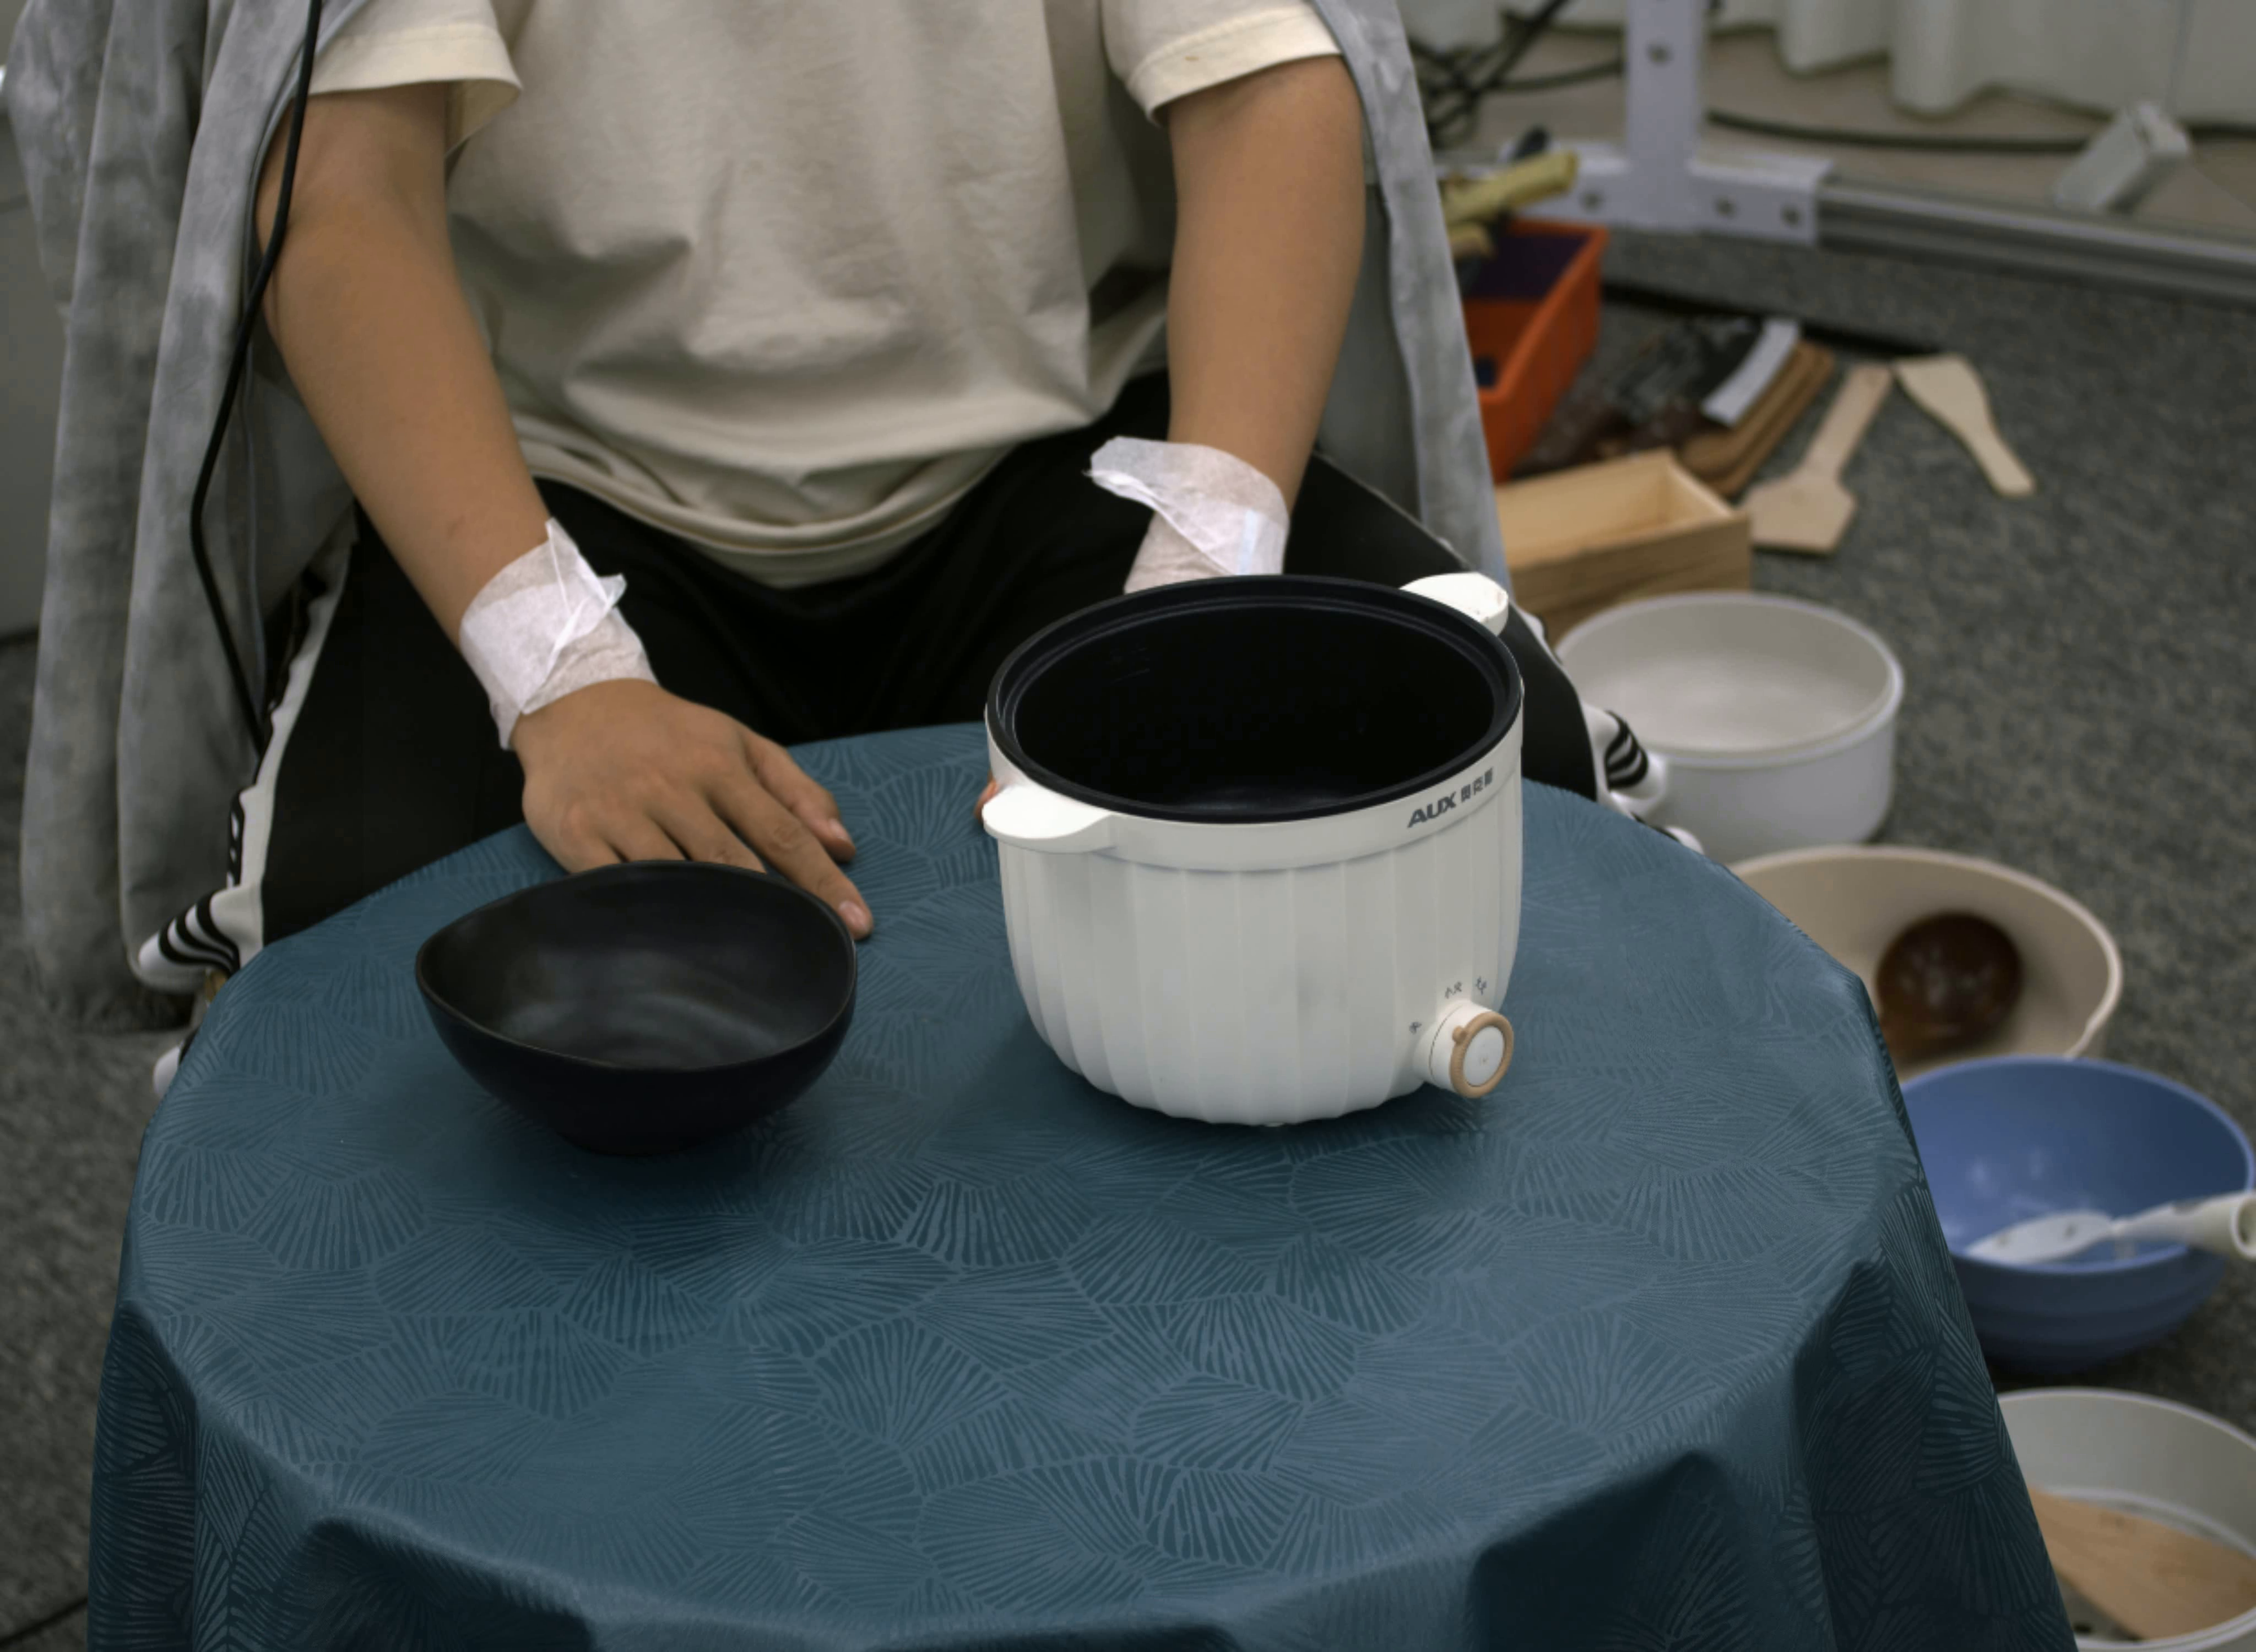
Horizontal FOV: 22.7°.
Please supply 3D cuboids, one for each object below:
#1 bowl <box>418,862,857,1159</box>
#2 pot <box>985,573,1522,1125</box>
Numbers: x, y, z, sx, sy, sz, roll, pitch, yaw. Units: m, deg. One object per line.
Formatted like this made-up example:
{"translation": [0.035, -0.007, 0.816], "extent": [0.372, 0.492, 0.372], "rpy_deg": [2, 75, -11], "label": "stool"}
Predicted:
{"translation": [-0.166, 0.071, 1.906], "extent": [0.170, 0.066, 0.139], "rpy_deg": [20, 34, 40], "label": "bowl"}
{"translation": [0.050, 0.013, 1.916], "extent": [0.190, 0.141, 0.243], "rpy_deg": [17, 33, 41], "label": "pot"}
